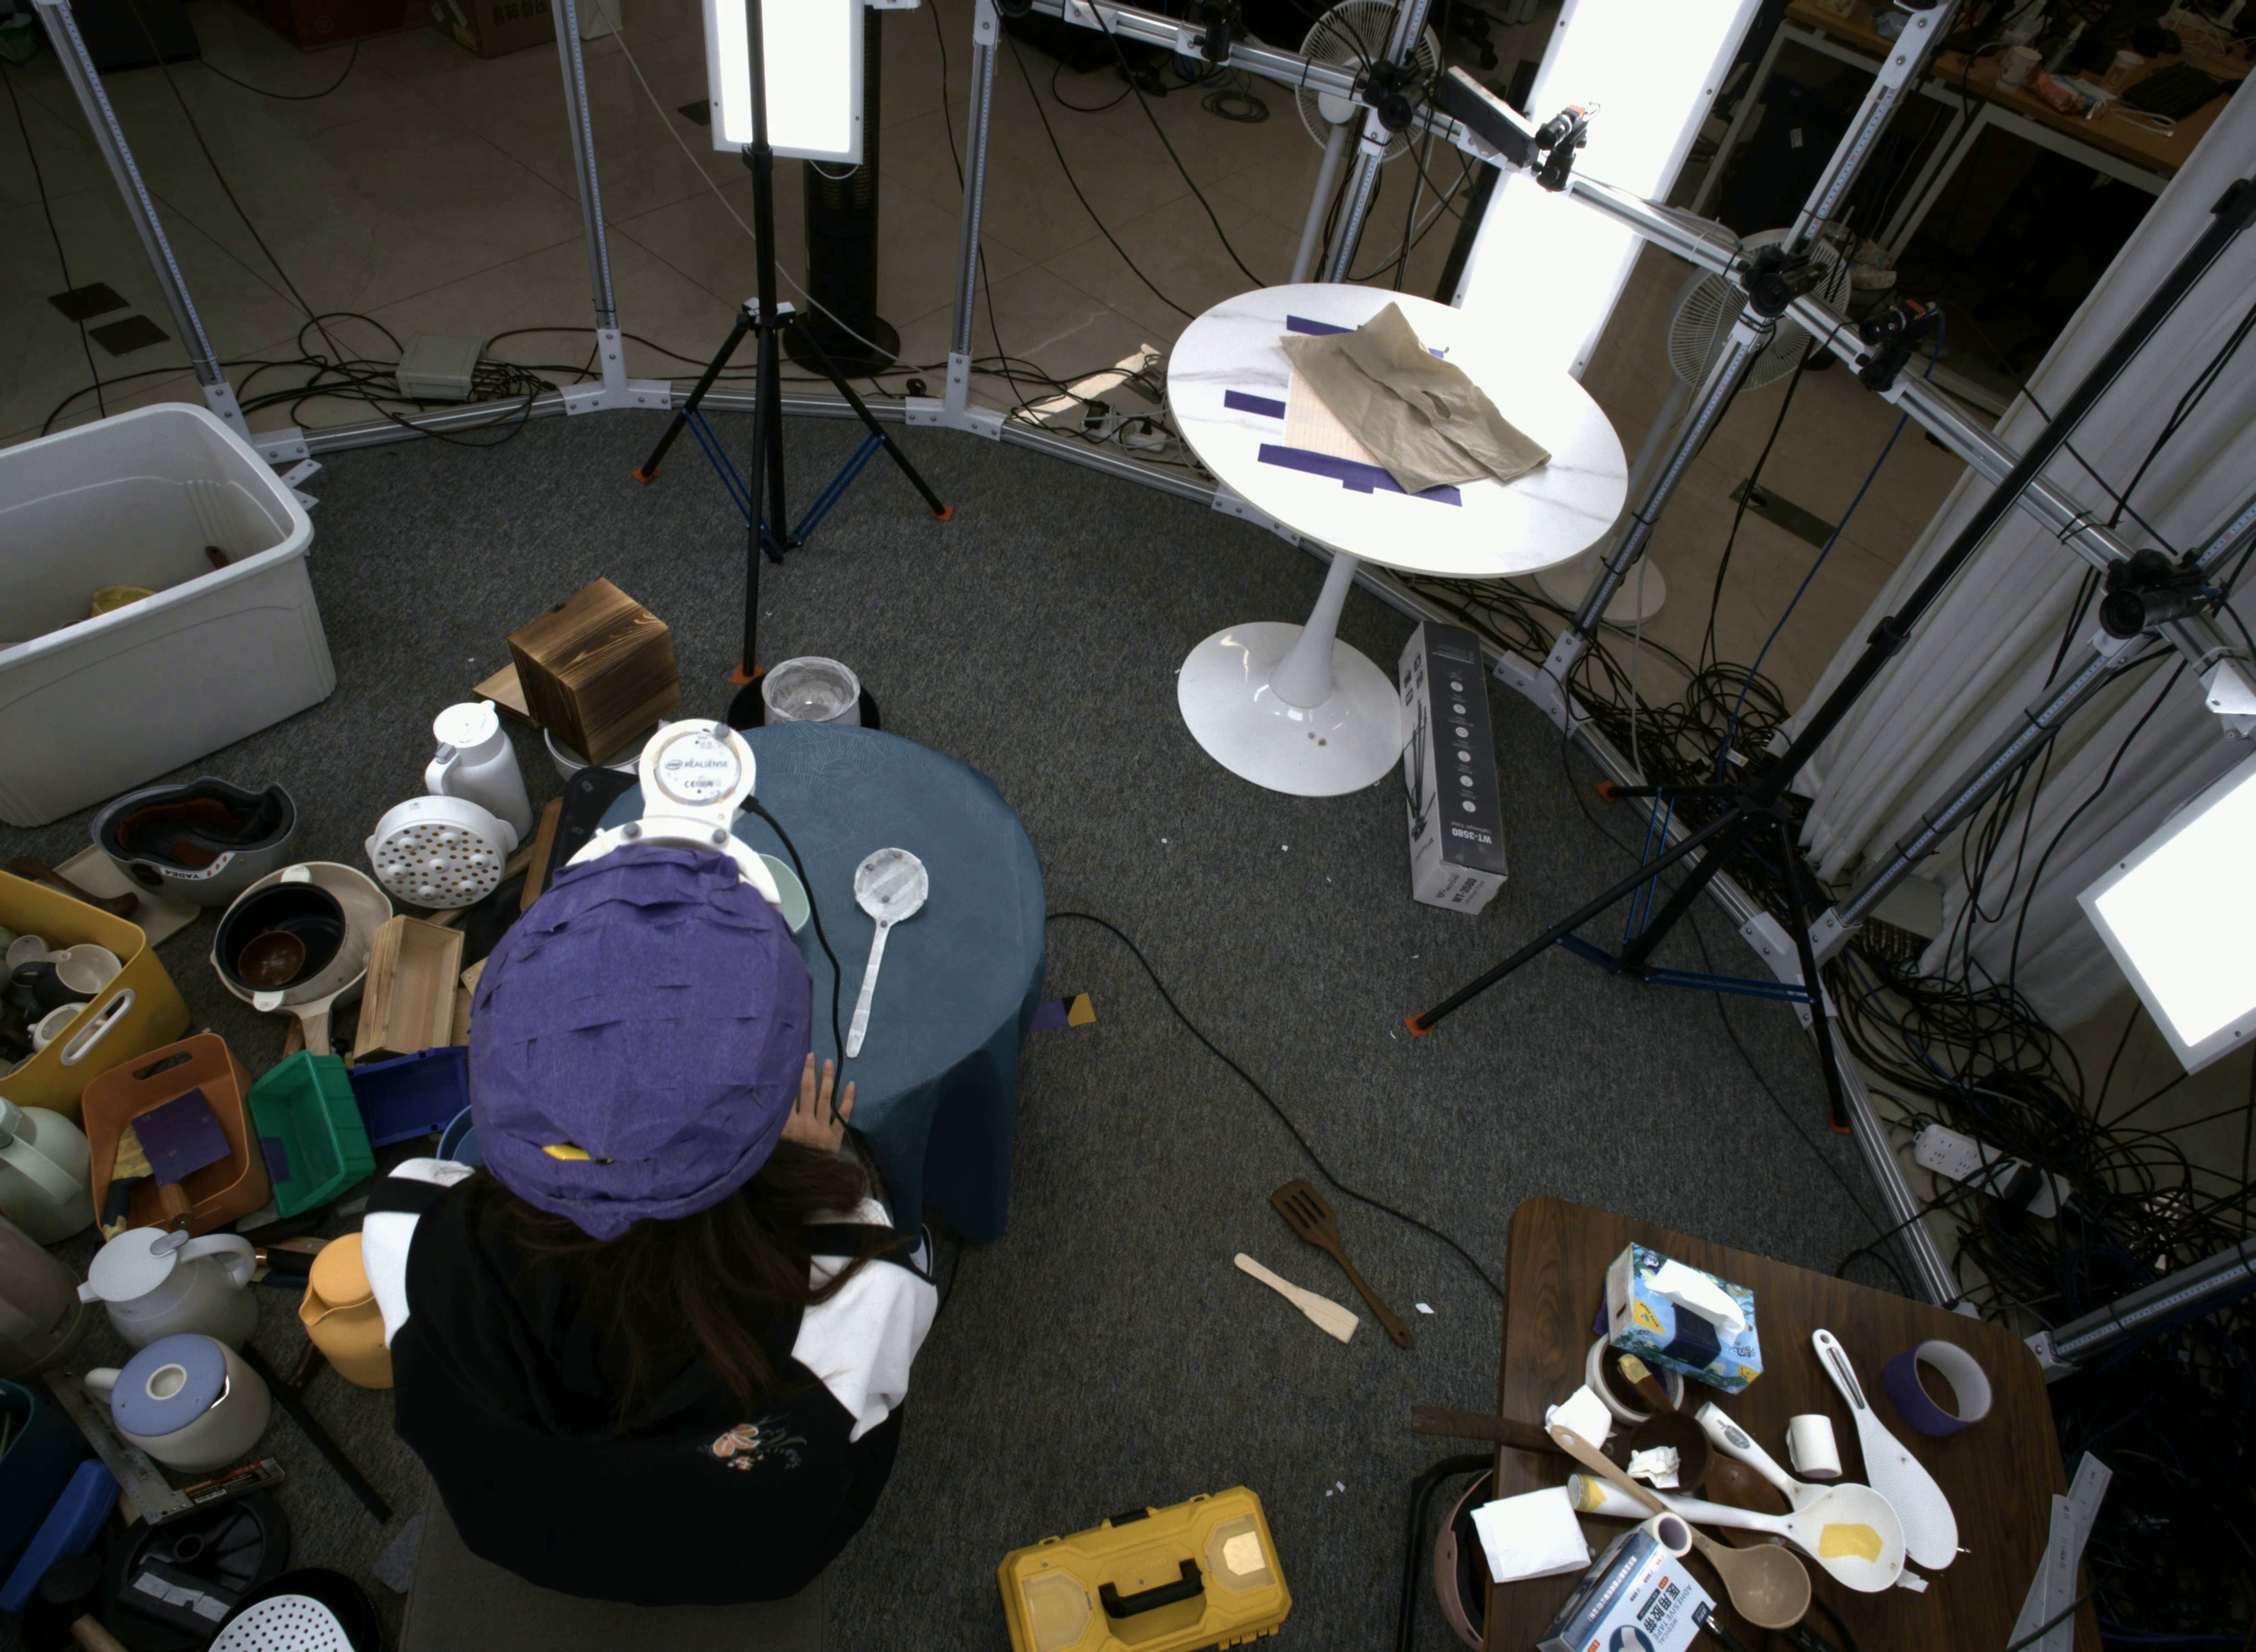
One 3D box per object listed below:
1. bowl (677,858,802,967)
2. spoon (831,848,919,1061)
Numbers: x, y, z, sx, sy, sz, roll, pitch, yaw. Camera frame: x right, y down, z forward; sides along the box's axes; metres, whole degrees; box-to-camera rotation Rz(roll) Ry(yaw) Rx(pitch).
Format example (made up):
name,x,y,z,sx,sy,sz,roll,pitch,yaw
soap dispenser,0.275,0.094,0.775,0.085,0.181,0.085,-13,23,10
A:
name,x,y,z,sx,sy,sz,roll,pitch,yaw
bowl,-0.475,0.114,1.587,0.151,0.060,0.149,8,52,-8
spoon,-0.329,0.150,1.595,0.100,0.061,0.273,10,52,0
